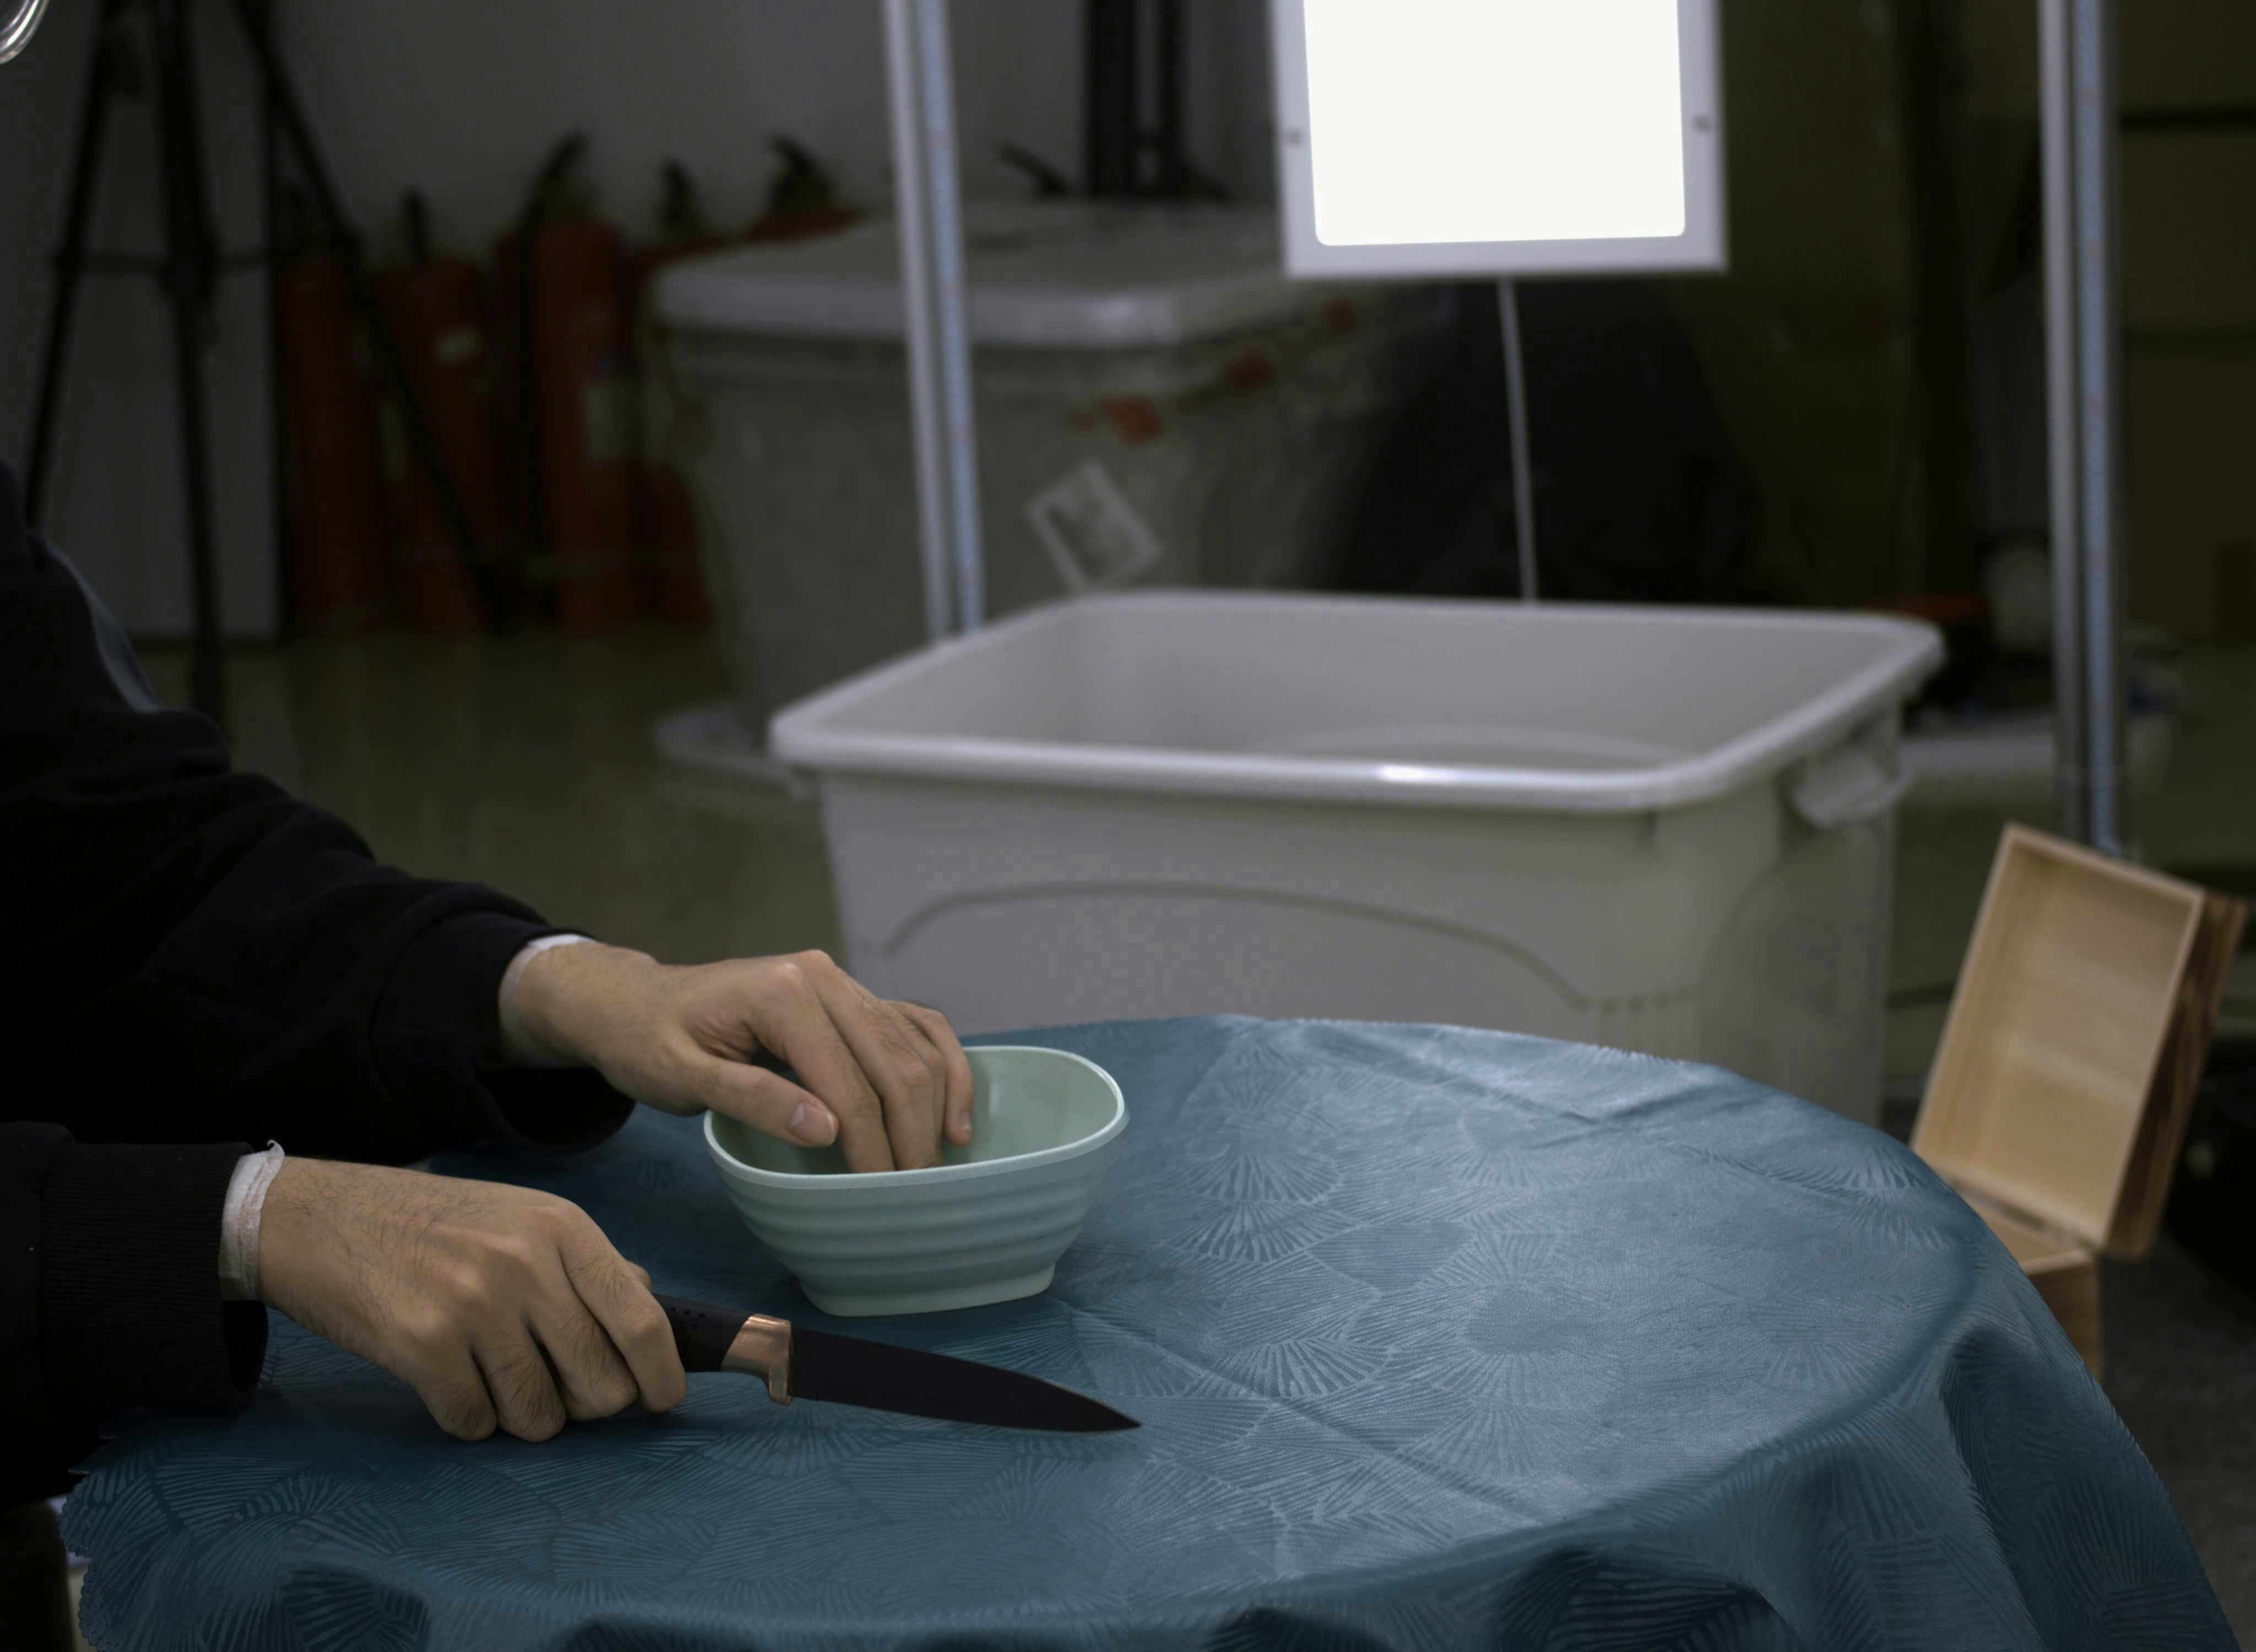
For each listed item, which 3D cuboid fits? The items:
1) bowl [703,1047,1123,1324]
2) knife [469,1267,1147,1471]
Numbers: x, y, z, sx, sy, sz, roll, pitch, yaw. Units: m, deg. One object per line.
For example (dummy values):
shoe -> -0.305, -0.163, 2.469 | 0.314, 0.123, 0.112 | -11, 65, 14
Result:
bowl -> -0.069, 0.122, 1.825 | 0.151, 0.059, 0.151 | -5, 15, 0
knife -> -0.099, 0.166, 1.696 | 0.228, 0.026, 0.017 | 11, -5, 17
